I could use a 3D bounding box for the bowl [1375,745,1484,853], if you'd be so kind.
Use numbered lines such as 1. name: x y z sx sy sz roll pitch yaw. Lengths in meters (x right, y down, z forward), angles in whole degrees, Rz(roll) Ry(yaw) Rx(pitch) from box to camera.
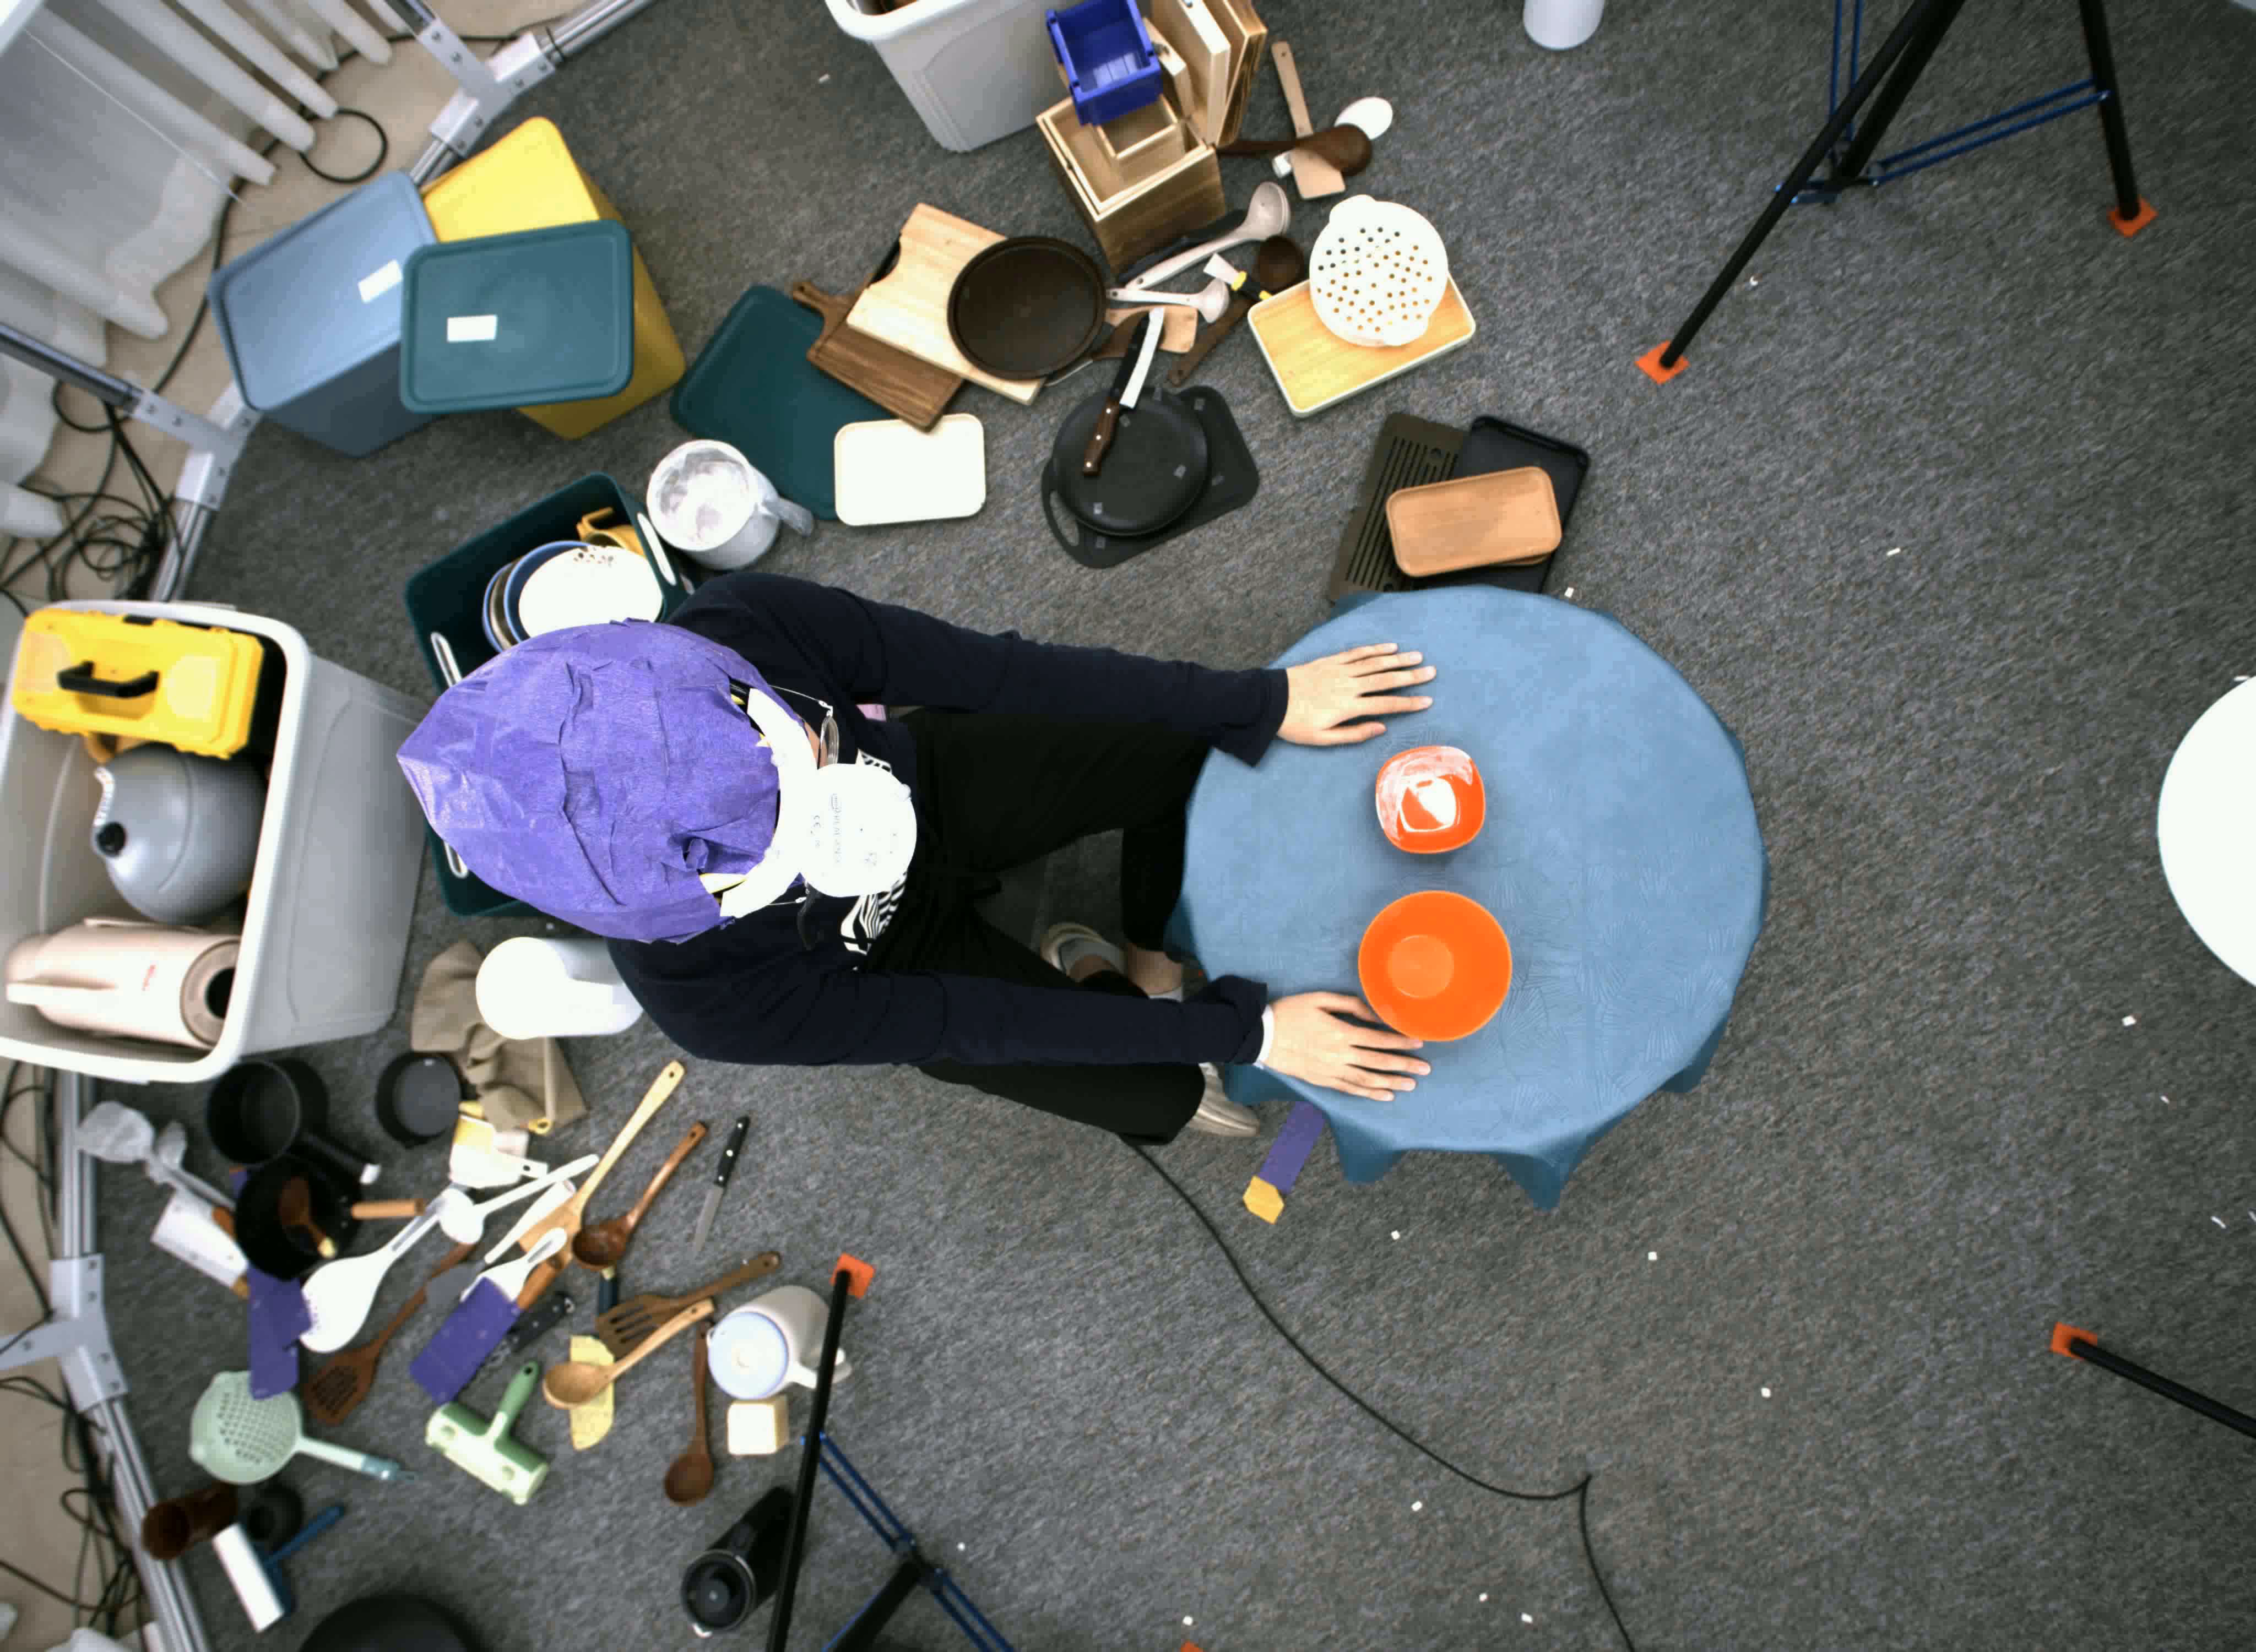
1. bowl: 0.313 -0.027 1.432 0.119 0.051 0.118 -1 88 10

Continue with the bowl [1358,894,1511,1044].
1. bowl: 0.307 0.142 1.397 0.148 0.104 0.147 -1 86 10
